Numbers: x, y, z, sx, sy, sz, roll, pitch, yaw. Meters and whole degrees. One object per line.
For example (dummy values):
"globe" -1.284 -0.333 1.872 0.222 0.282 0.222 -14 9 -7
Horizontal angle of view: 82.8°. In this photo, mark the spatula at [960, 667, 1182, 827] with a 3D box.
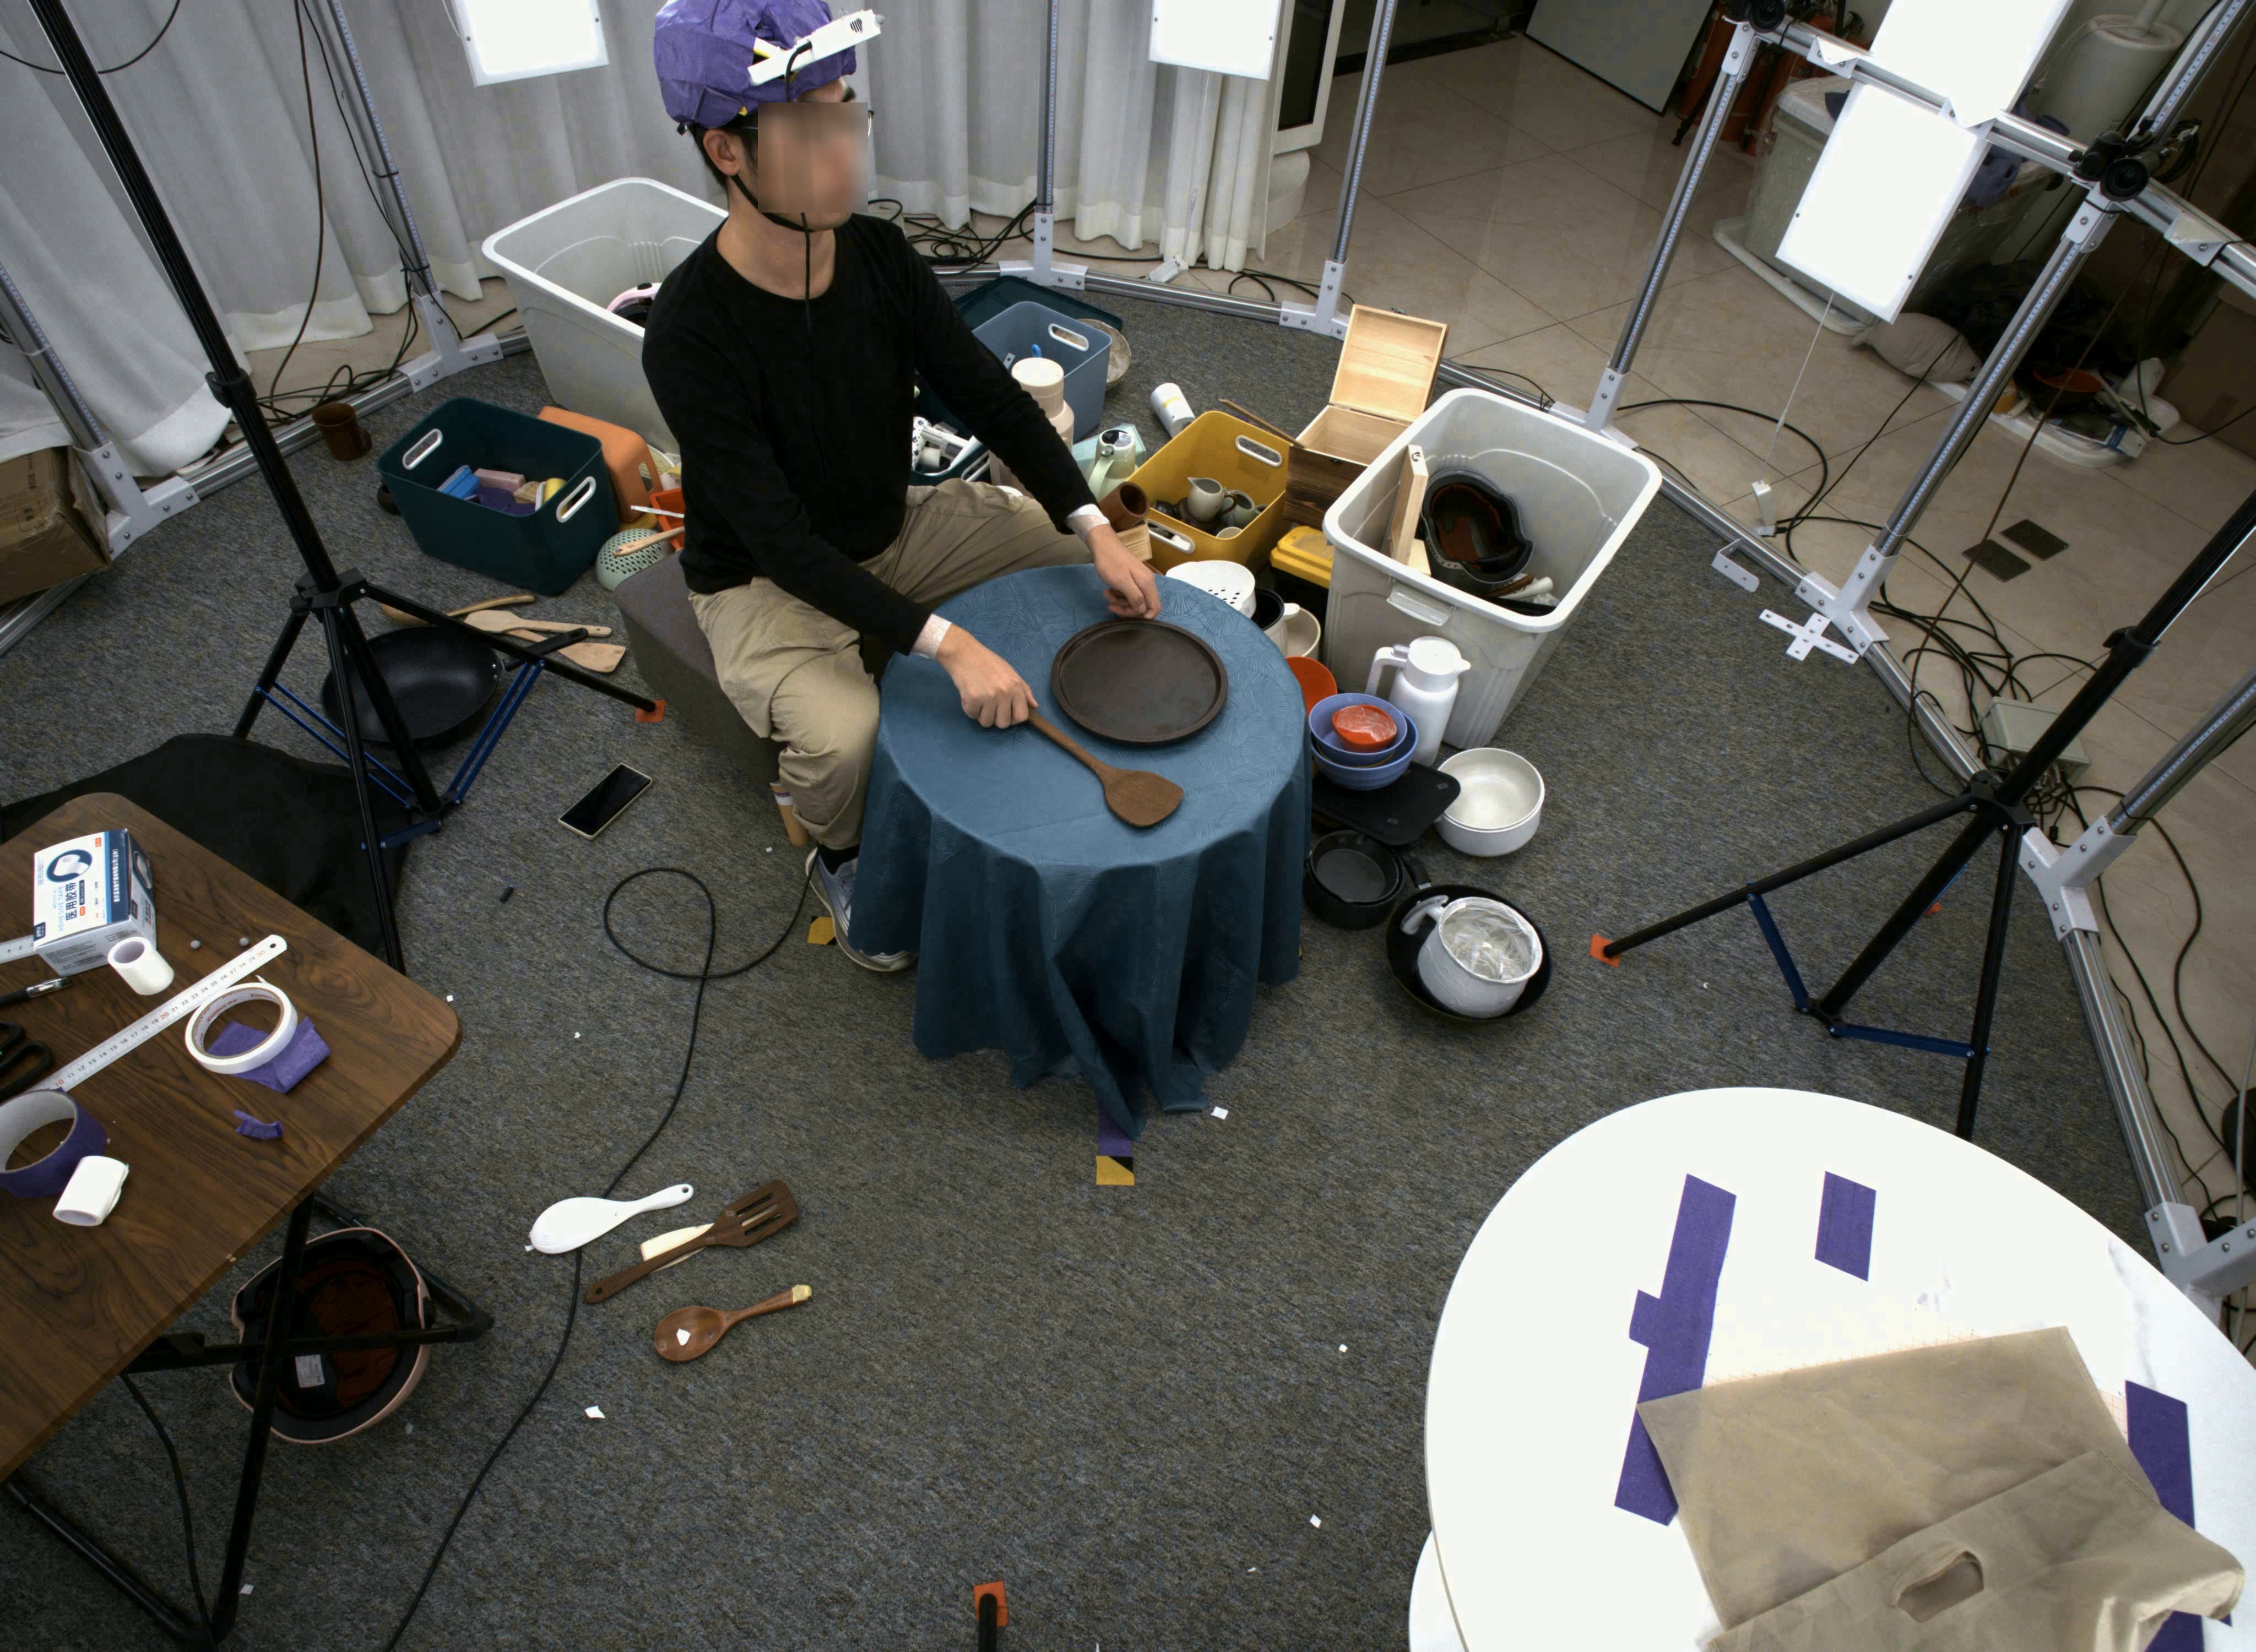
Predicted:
"spatula" -0.092 -0.119 1.754 0.391 0.015 0.097 37 56 23

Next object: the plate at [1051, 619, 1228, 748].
"plate" 0.016 -0.206 1.834 0.254 0.028 0.261 2 51 -2
